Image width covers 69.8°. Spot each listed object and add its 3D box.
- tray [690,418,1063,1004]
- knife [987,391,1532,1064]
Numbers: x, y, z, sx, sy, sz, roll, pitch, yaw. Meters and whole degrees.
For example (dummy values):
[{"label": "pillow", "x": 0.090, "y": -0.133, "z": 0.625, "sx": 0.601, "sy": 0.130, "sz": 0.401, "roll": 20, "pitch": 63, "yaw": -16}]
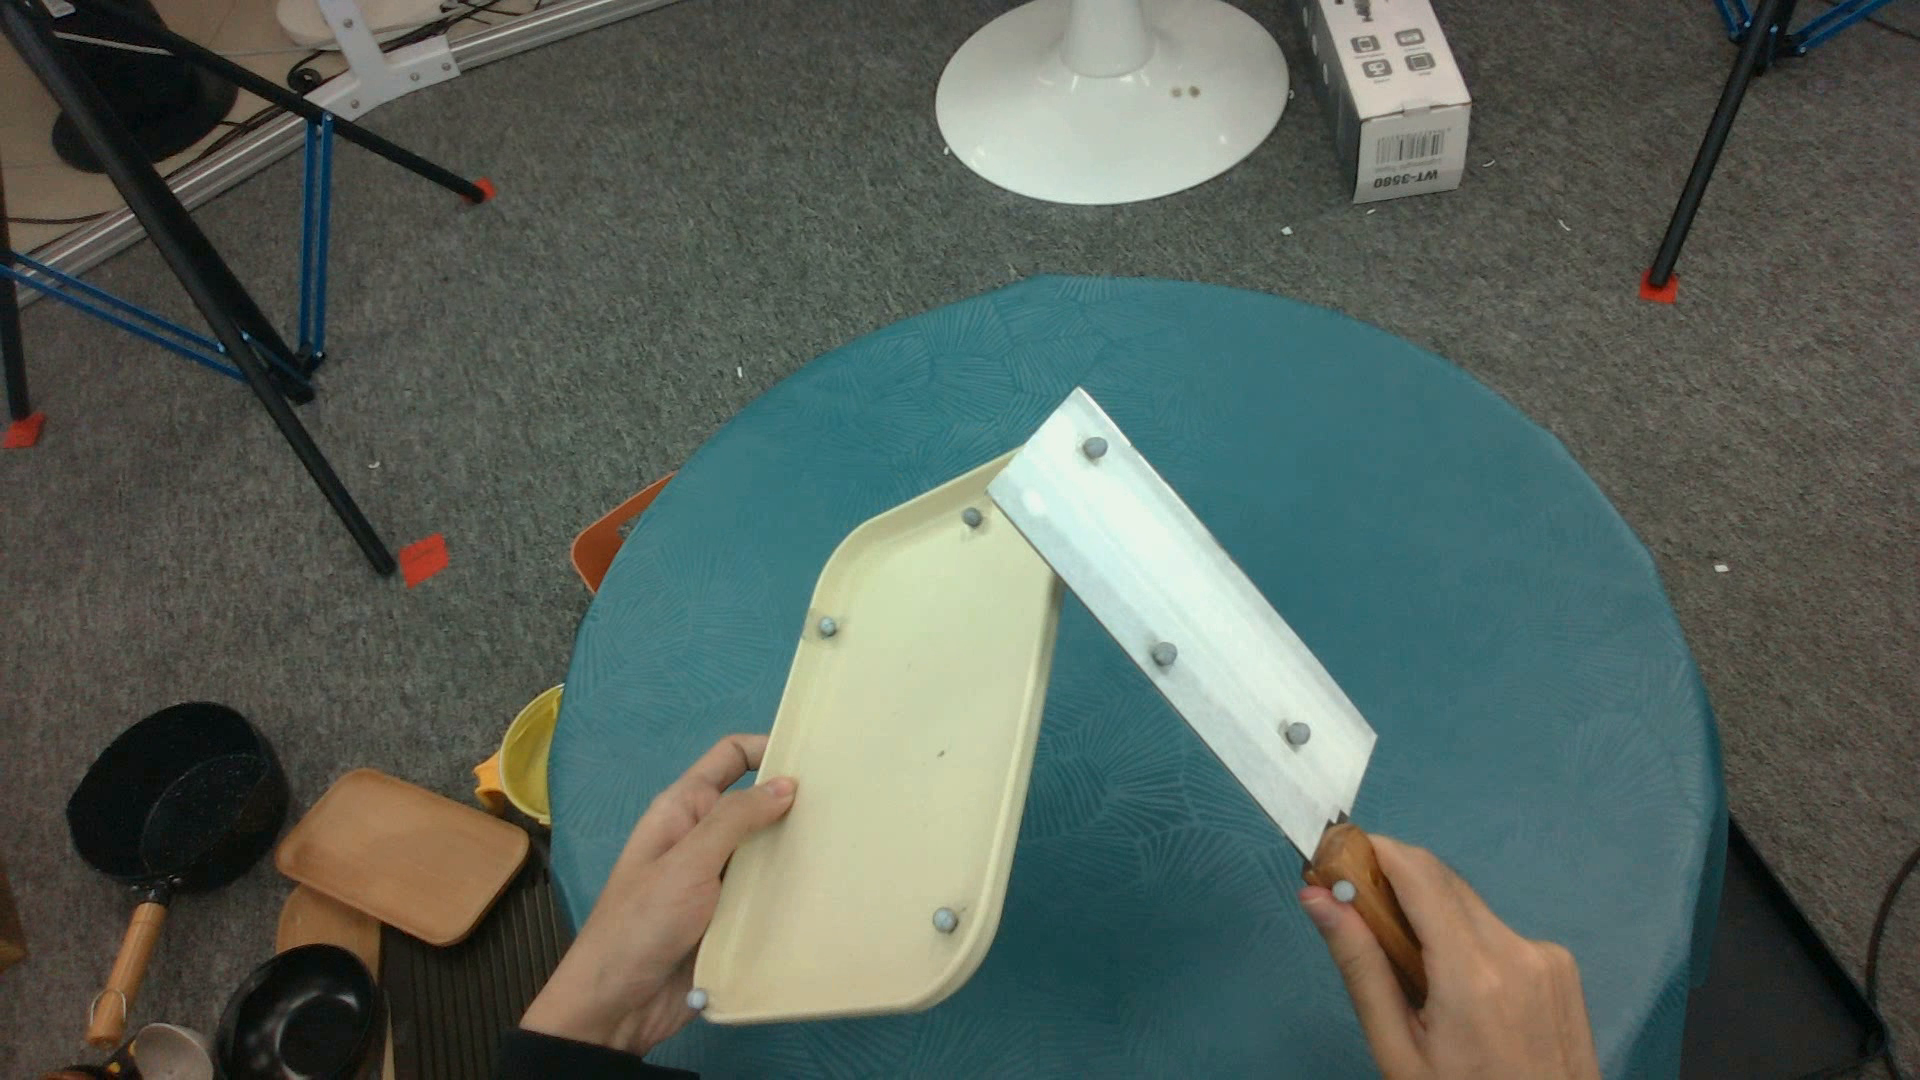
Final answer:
[{"label": "tray", "x": -0.028, "y": 0.066, "z": 0.558, "sx": 0.170, "sy": 0.017, "sz": 0.241, "roll": -22, "pitch": 43, "yaw": 42}, {"label": "knife", "x": 0.124, "y": 0.067, "z": 0.529, "sx": 0.305, "sy": 0.021, "sz": 0.093, "roll": 48, "pitch": 40, "yaw": -8}]
